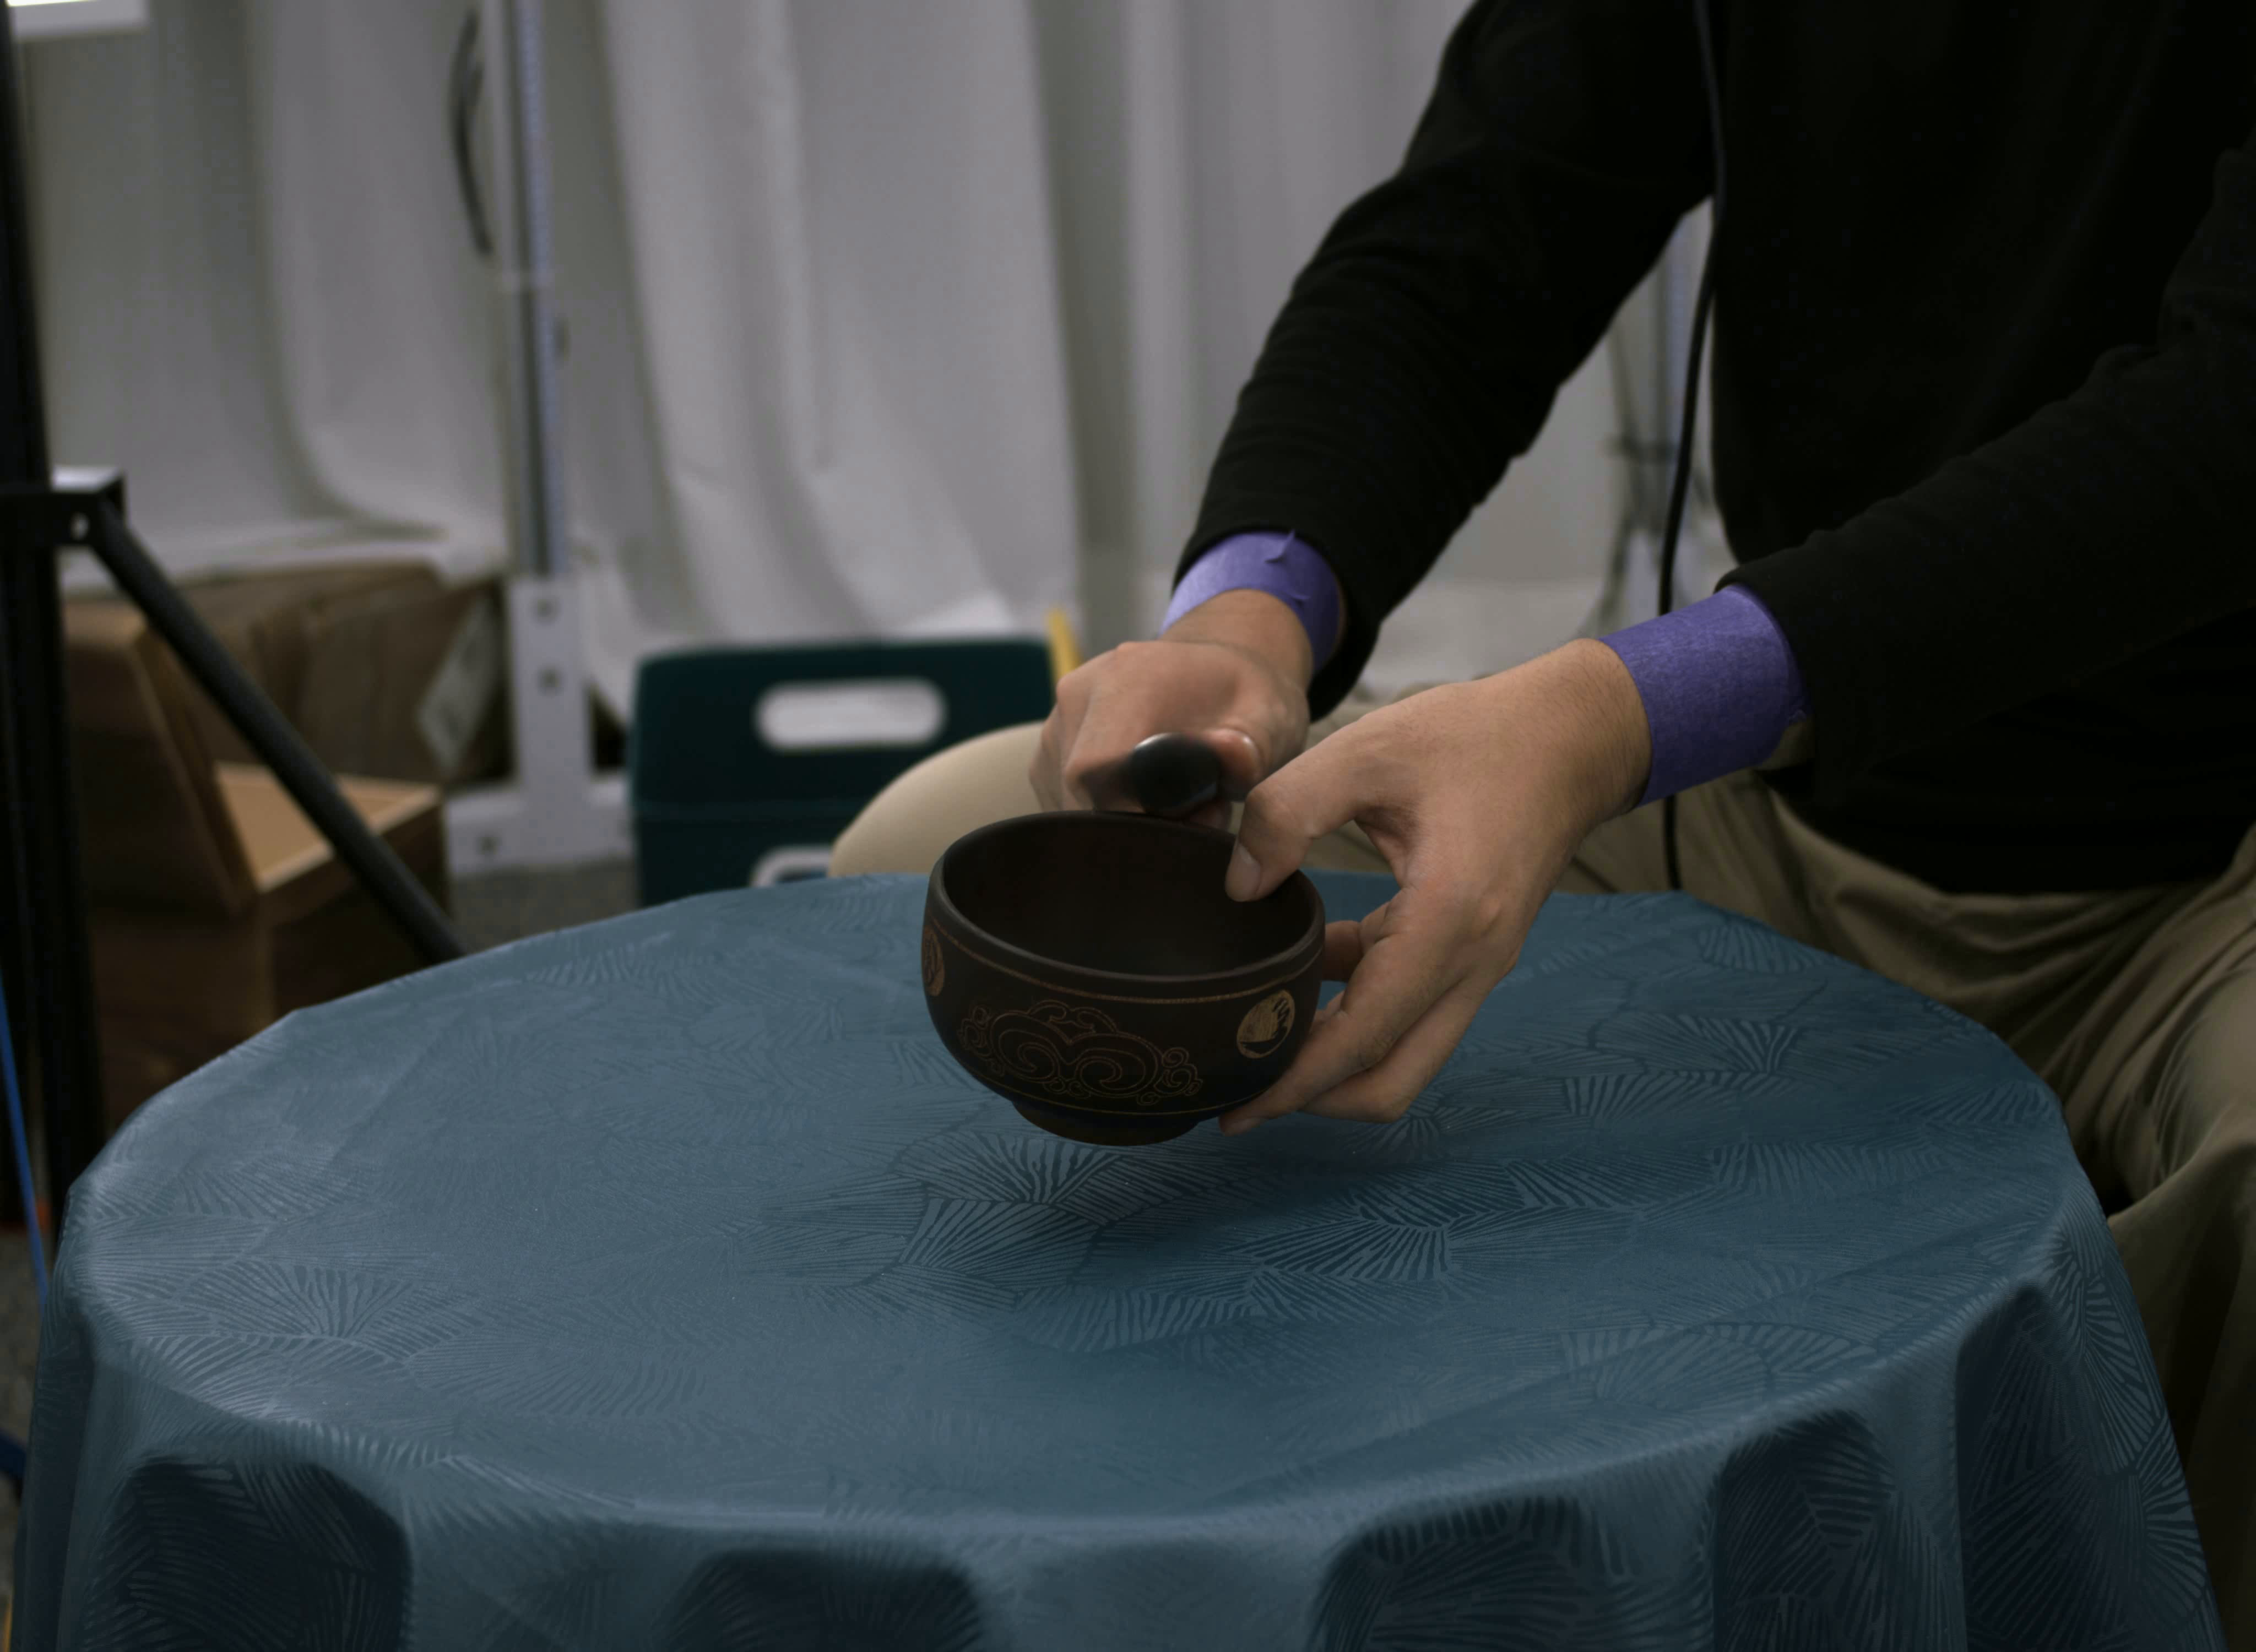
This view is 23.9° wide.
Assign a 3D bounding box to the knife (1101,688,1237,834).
[{"bbox_3d":[0.012,-0.016,1.603,0.050,0.020,0.288,-35,-4,-1],"label":"knife"}]

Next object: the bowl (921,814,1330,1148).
[{"bbox_3d":[-0.002,0.050,1.535,0.117,0.070,0.119,4,22,-3],"label":"bowl"}]
